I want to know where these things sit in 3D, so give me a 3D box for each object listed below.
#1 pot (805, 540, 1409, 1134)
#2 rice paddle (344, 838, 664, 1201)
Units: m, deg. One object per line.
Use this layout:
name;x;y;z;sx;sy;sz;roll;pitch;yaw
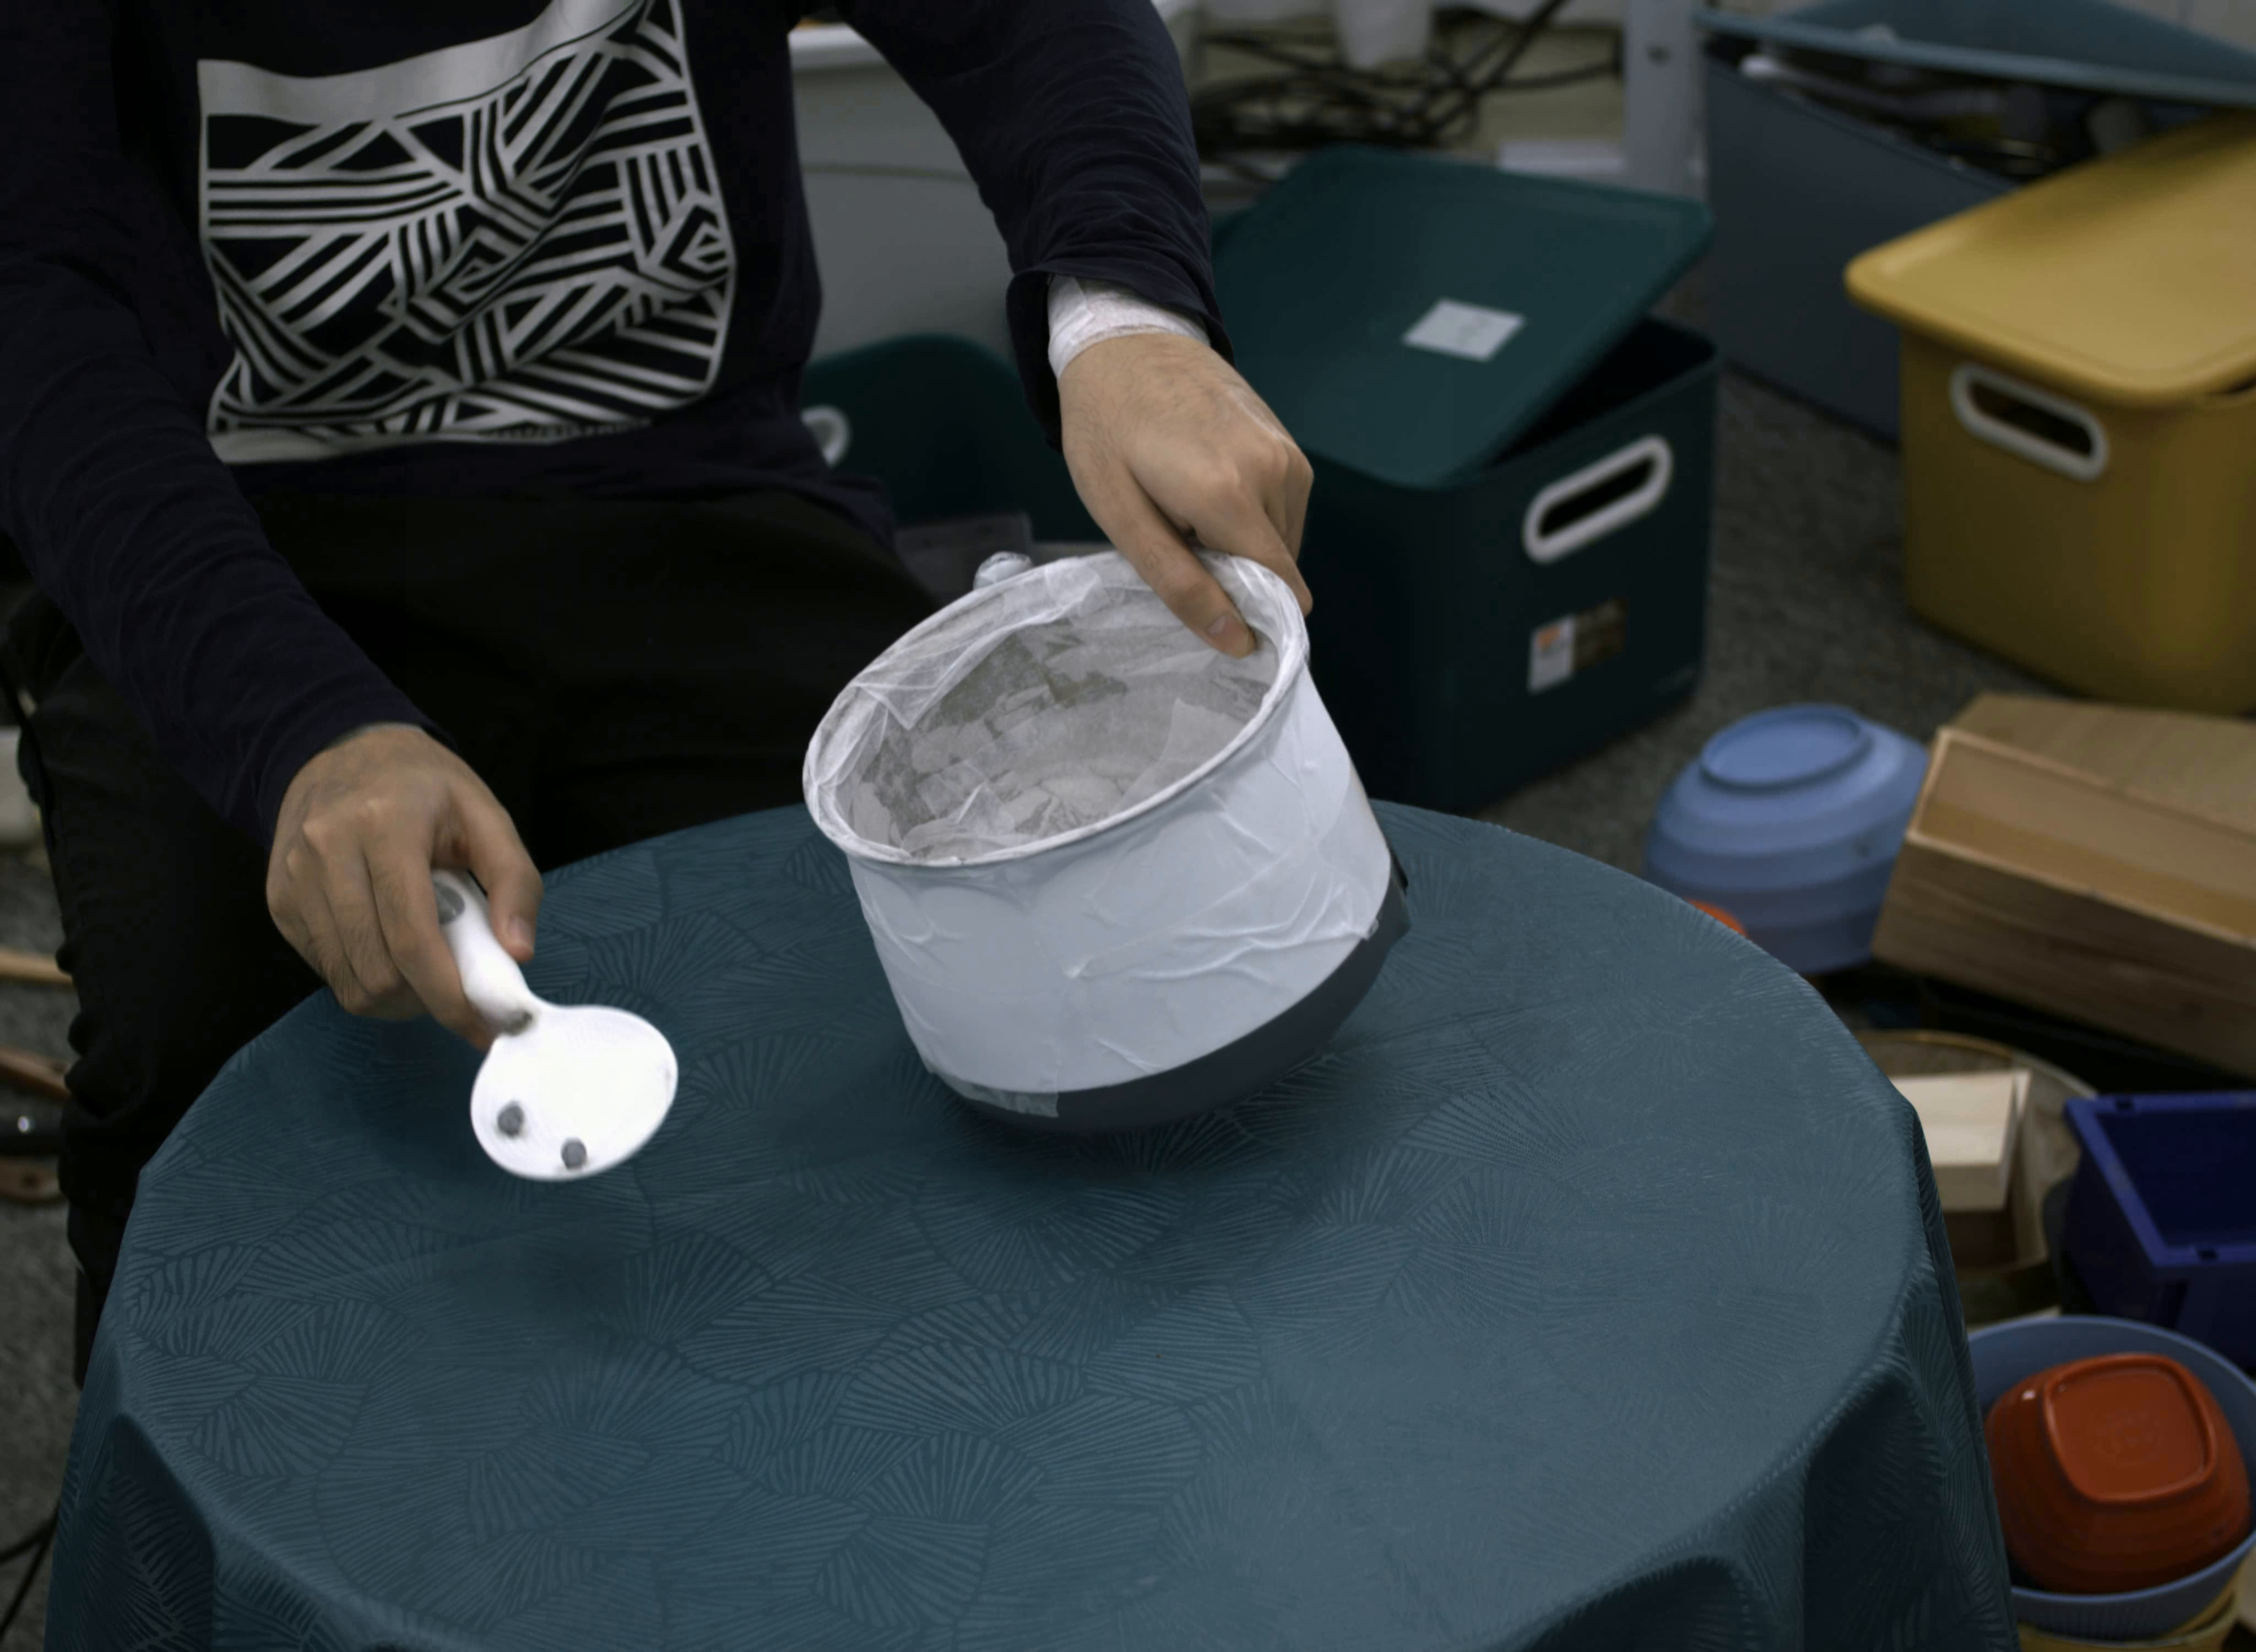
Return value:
pot;-0.011;-0.006;1.916;0.178;0.135;0.236;-21;31;-3
rice paddle;-0.212;0.065;1.871;0.069;0.029;0.207;-25;38;-15
